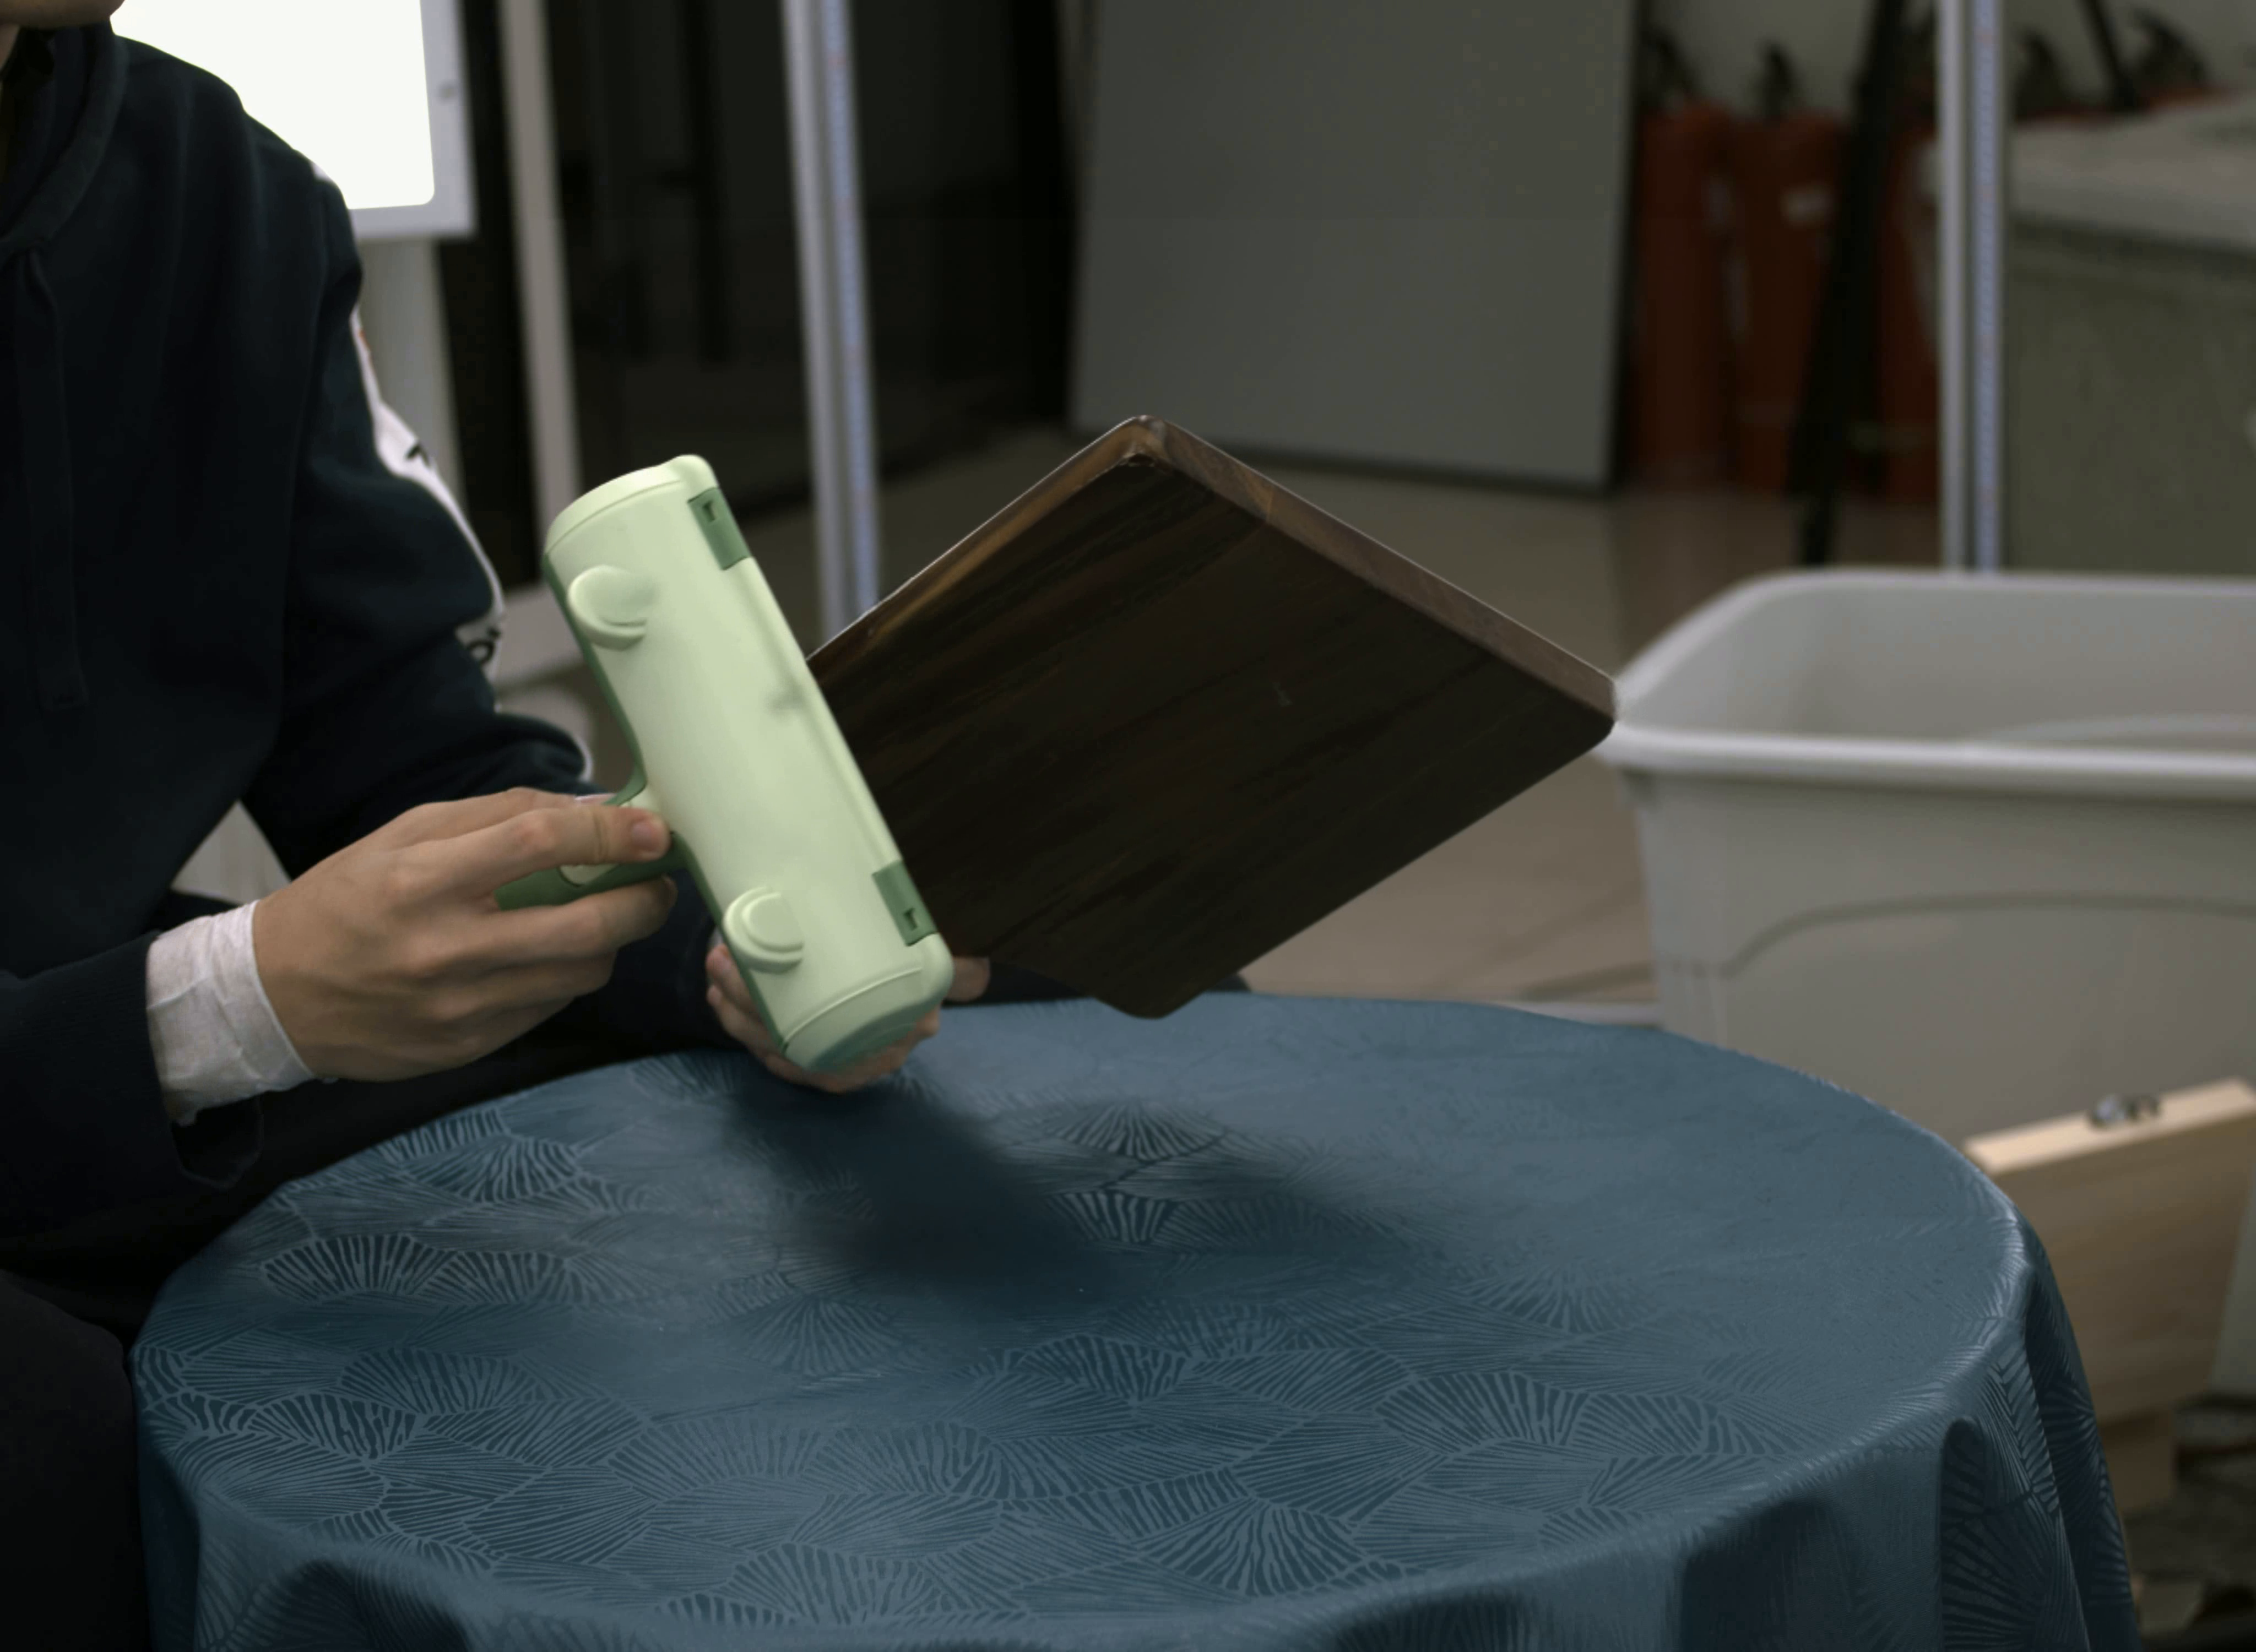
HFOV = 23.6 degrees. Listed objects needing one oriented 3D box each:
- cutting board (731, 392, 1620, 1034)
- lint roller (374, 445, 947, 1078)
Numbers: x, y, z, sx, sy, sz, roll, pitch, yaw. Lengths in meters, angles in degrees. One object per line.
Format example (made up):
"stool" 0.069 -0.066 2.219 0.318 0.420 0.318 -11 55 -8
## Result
"cutting board" -0.023 -0.009 1.763 0.198 0.023 0.355 29 -41 -24
"lint roller" -0.171 0.007 1.690 0.183 0.201 0.081 -30 -15 12
